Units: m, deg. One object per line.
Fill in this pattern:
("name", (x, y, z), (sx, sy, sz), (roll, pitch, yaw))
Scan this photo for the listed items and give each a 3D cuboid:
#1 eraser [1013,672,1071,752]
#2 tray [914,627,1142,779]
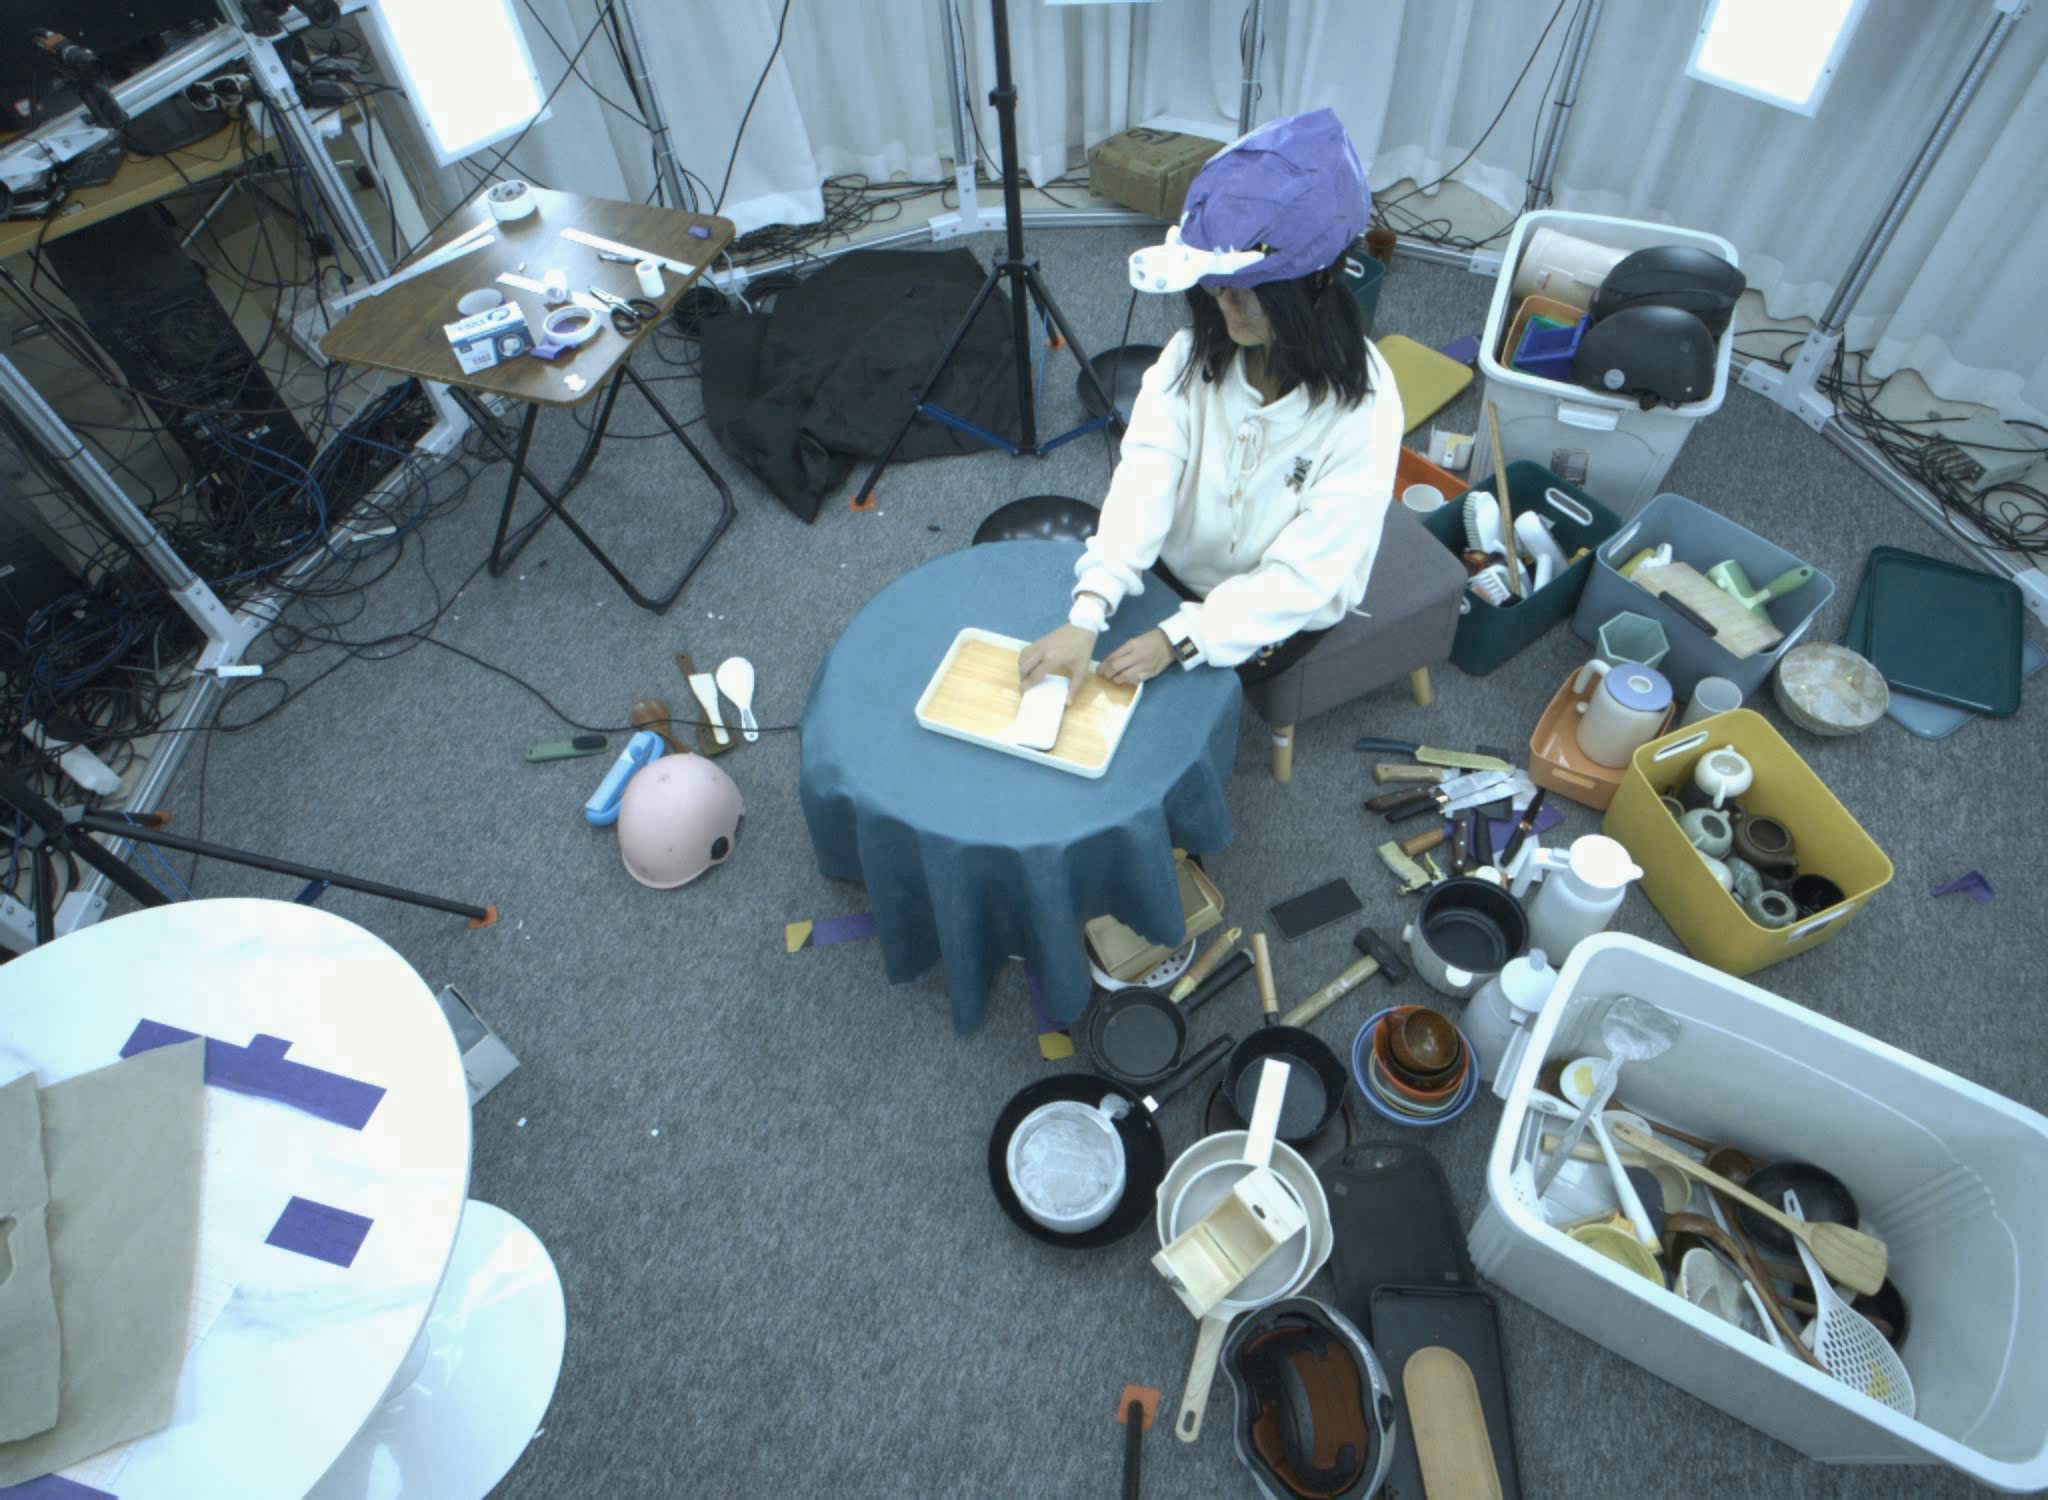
("eraser", (0.028, -0.058, 1.801), (0.063, 0.035, 0.131), (11, 56, 10))
("tray", (0.007, -0.073, 1.823), (0.297, 0.028, 0.191), (17, 58, 14))
